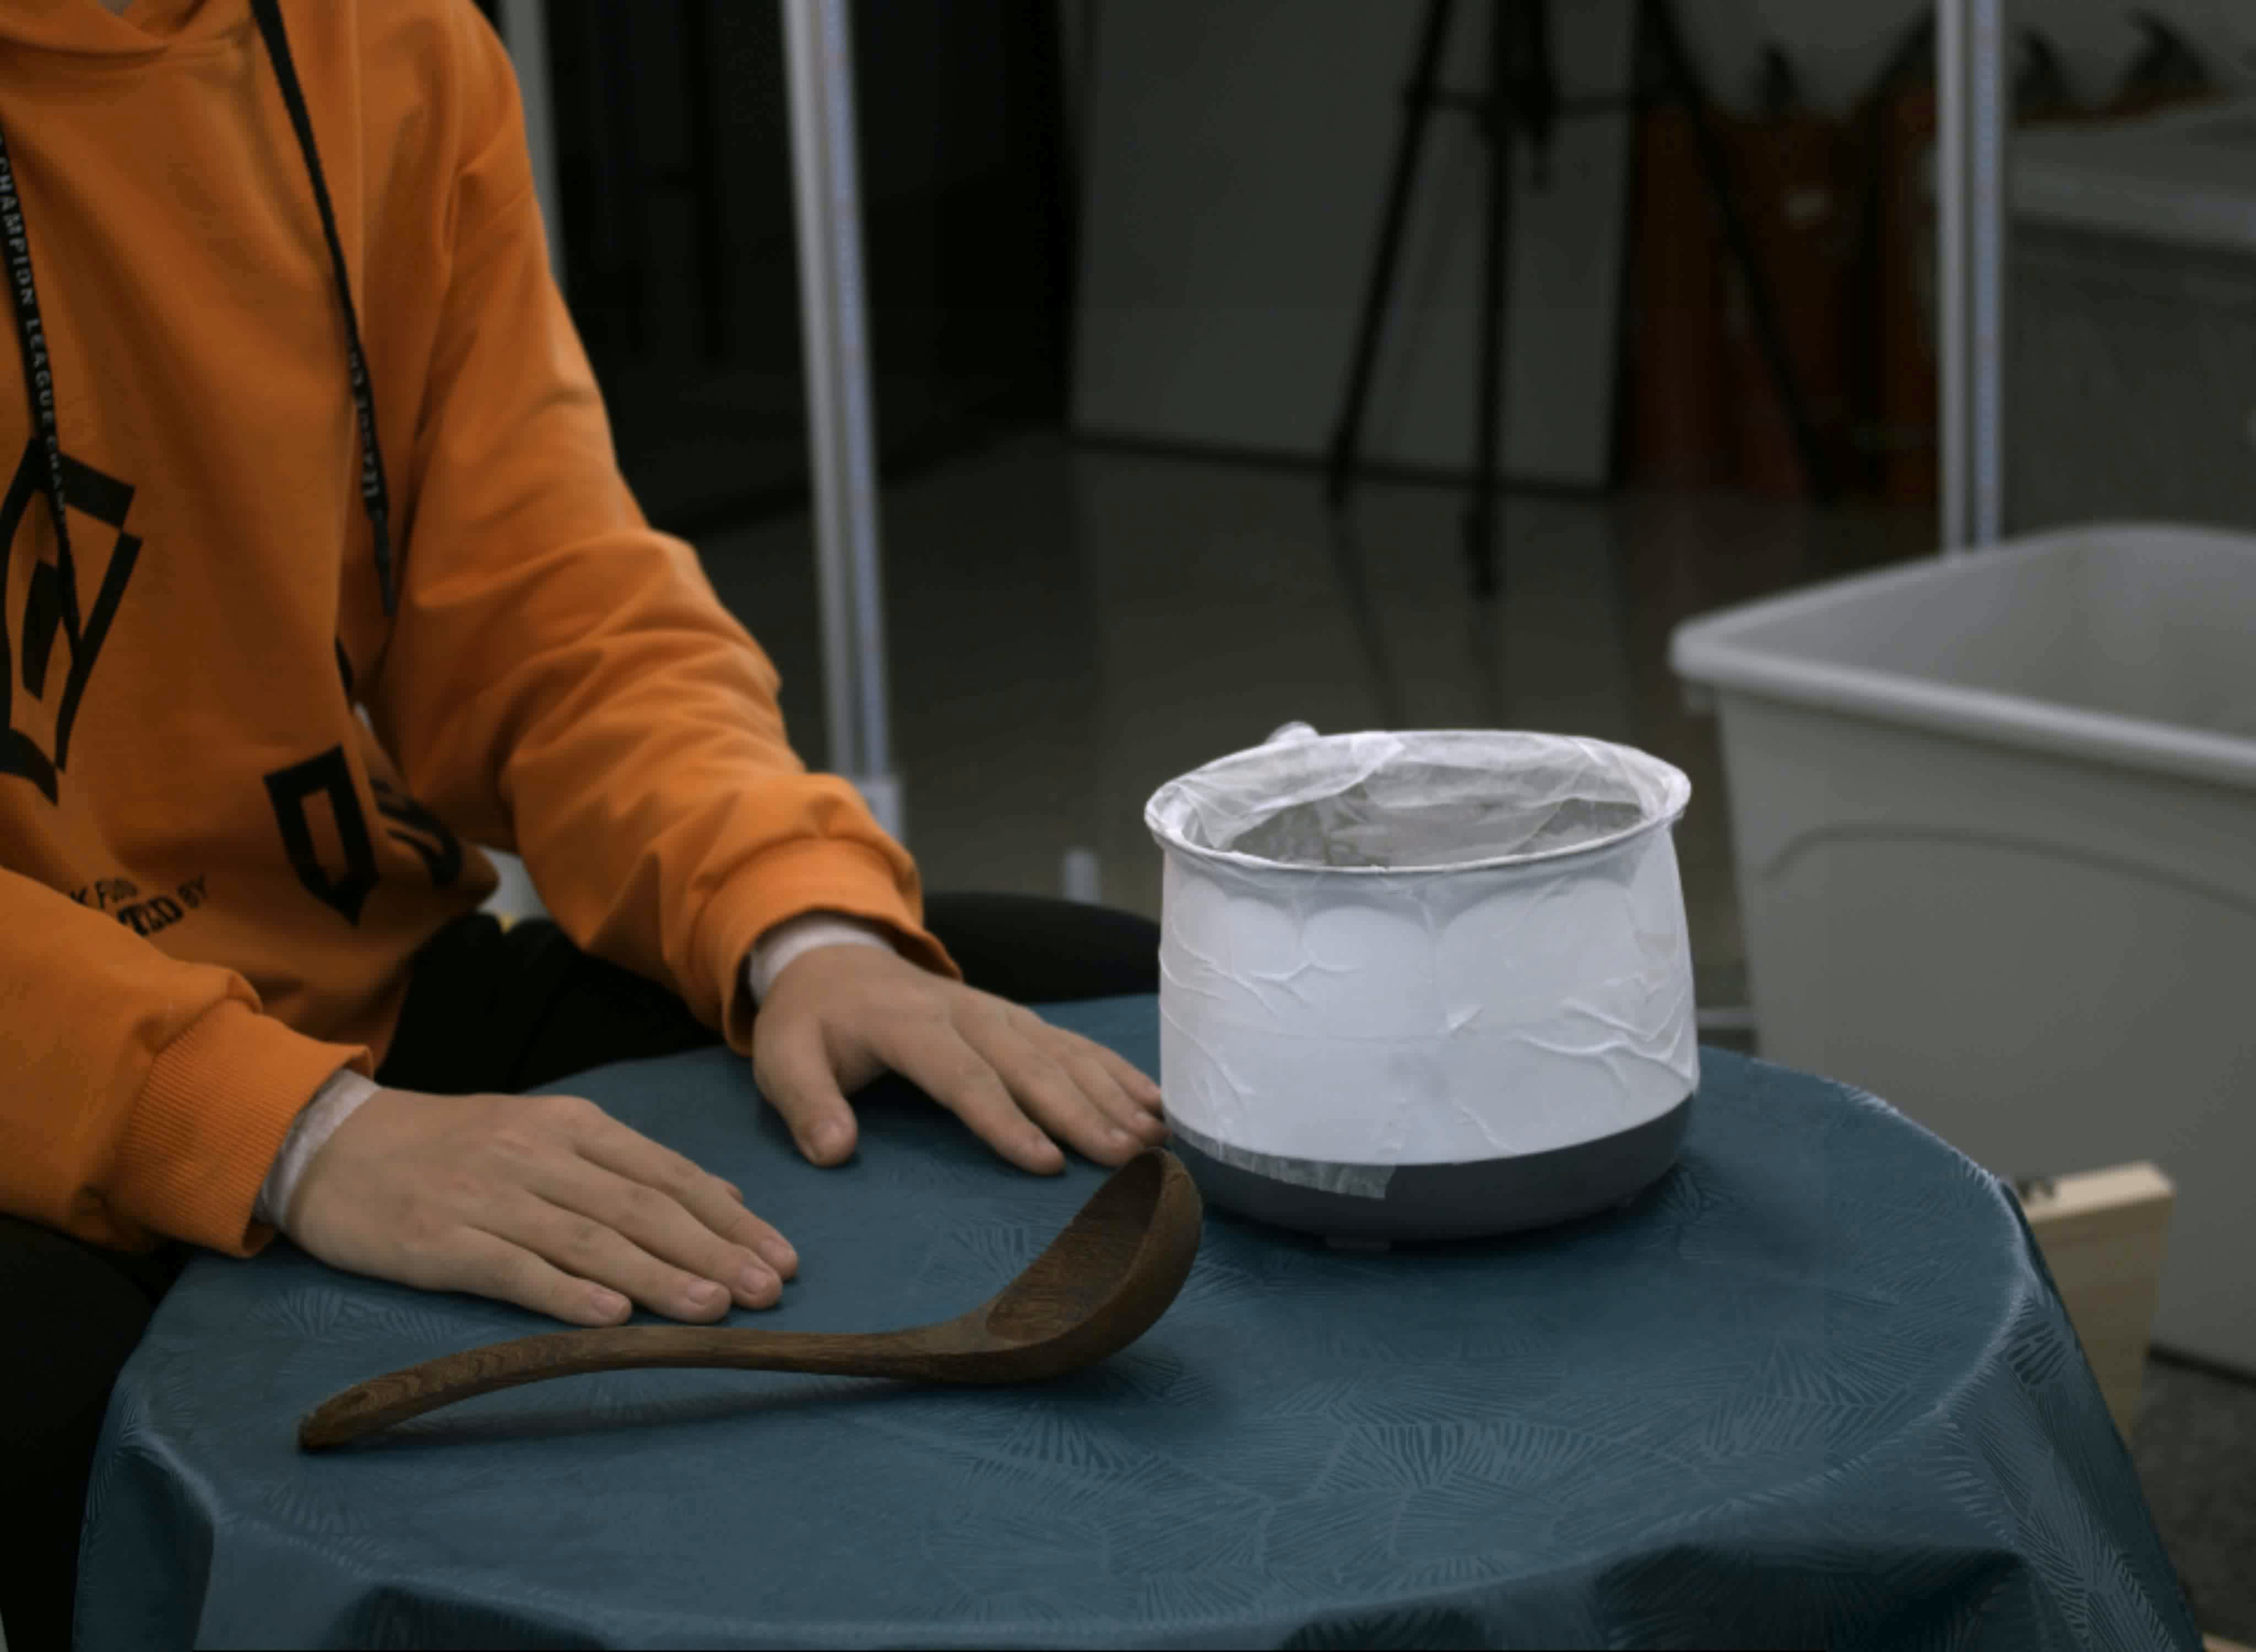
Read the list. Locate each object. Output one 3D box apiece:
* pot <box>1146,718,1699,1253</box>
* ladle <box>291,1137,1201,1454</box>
[{"bbox_3d":[0.085,0.045,1.766,0.175,0.138,0.236,-9,14,-21],"label":"pot"},{"bbox_3d":[-0.112,0.137,1.591,0.270,0.072,0.076,-5,9,-4],"label":"ladle"}]
